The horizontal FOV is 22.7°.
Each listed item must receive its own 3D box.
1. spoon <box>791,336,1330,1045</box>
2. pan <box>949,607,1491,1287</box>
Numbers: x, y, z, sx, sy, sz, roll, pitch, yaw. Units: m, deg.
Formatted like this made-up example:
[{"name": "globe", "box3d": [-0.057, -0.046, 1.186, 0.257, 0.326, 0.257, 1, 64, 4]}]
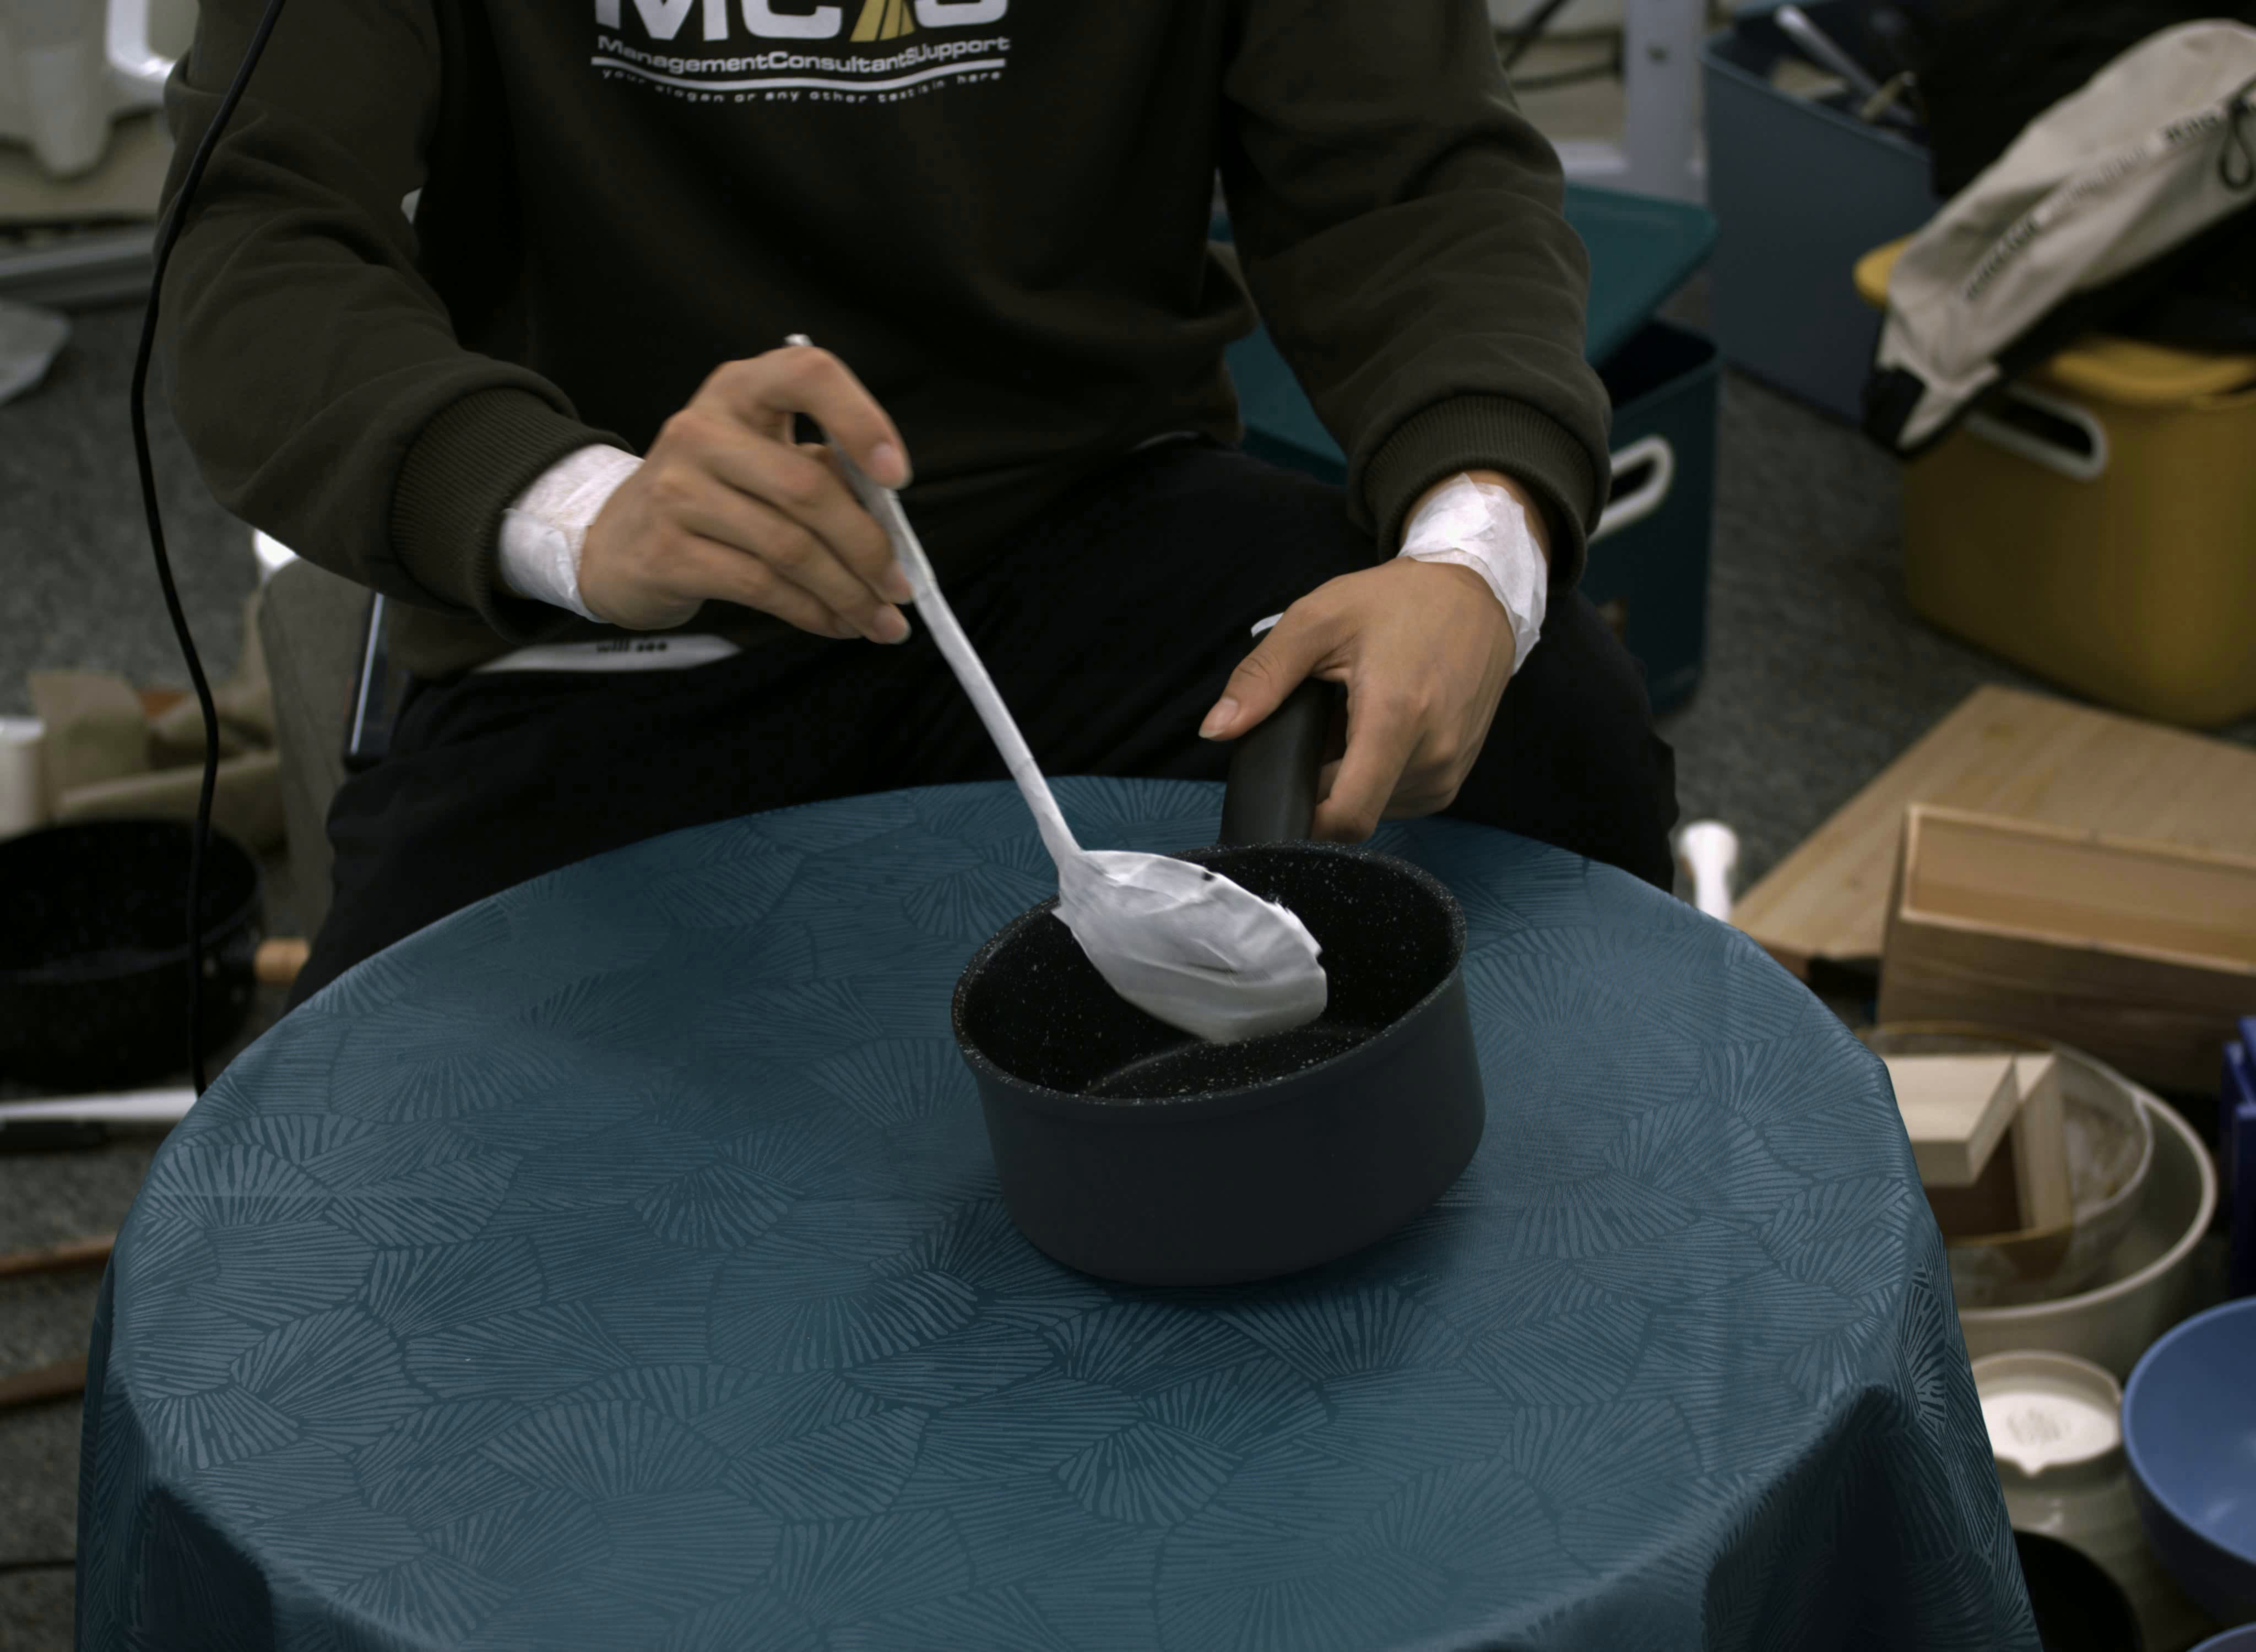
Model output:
[{"name": "spoon", "box3d": [-0.026, -0.046, 1.826, 0.060, 0.099, 0.280, -18, 72, -34]}, {"name": "pan", "box3d": [0.047, 0.038, 1.910, 0.170, 0.085, 0.334, -3, 28, 14]}]
